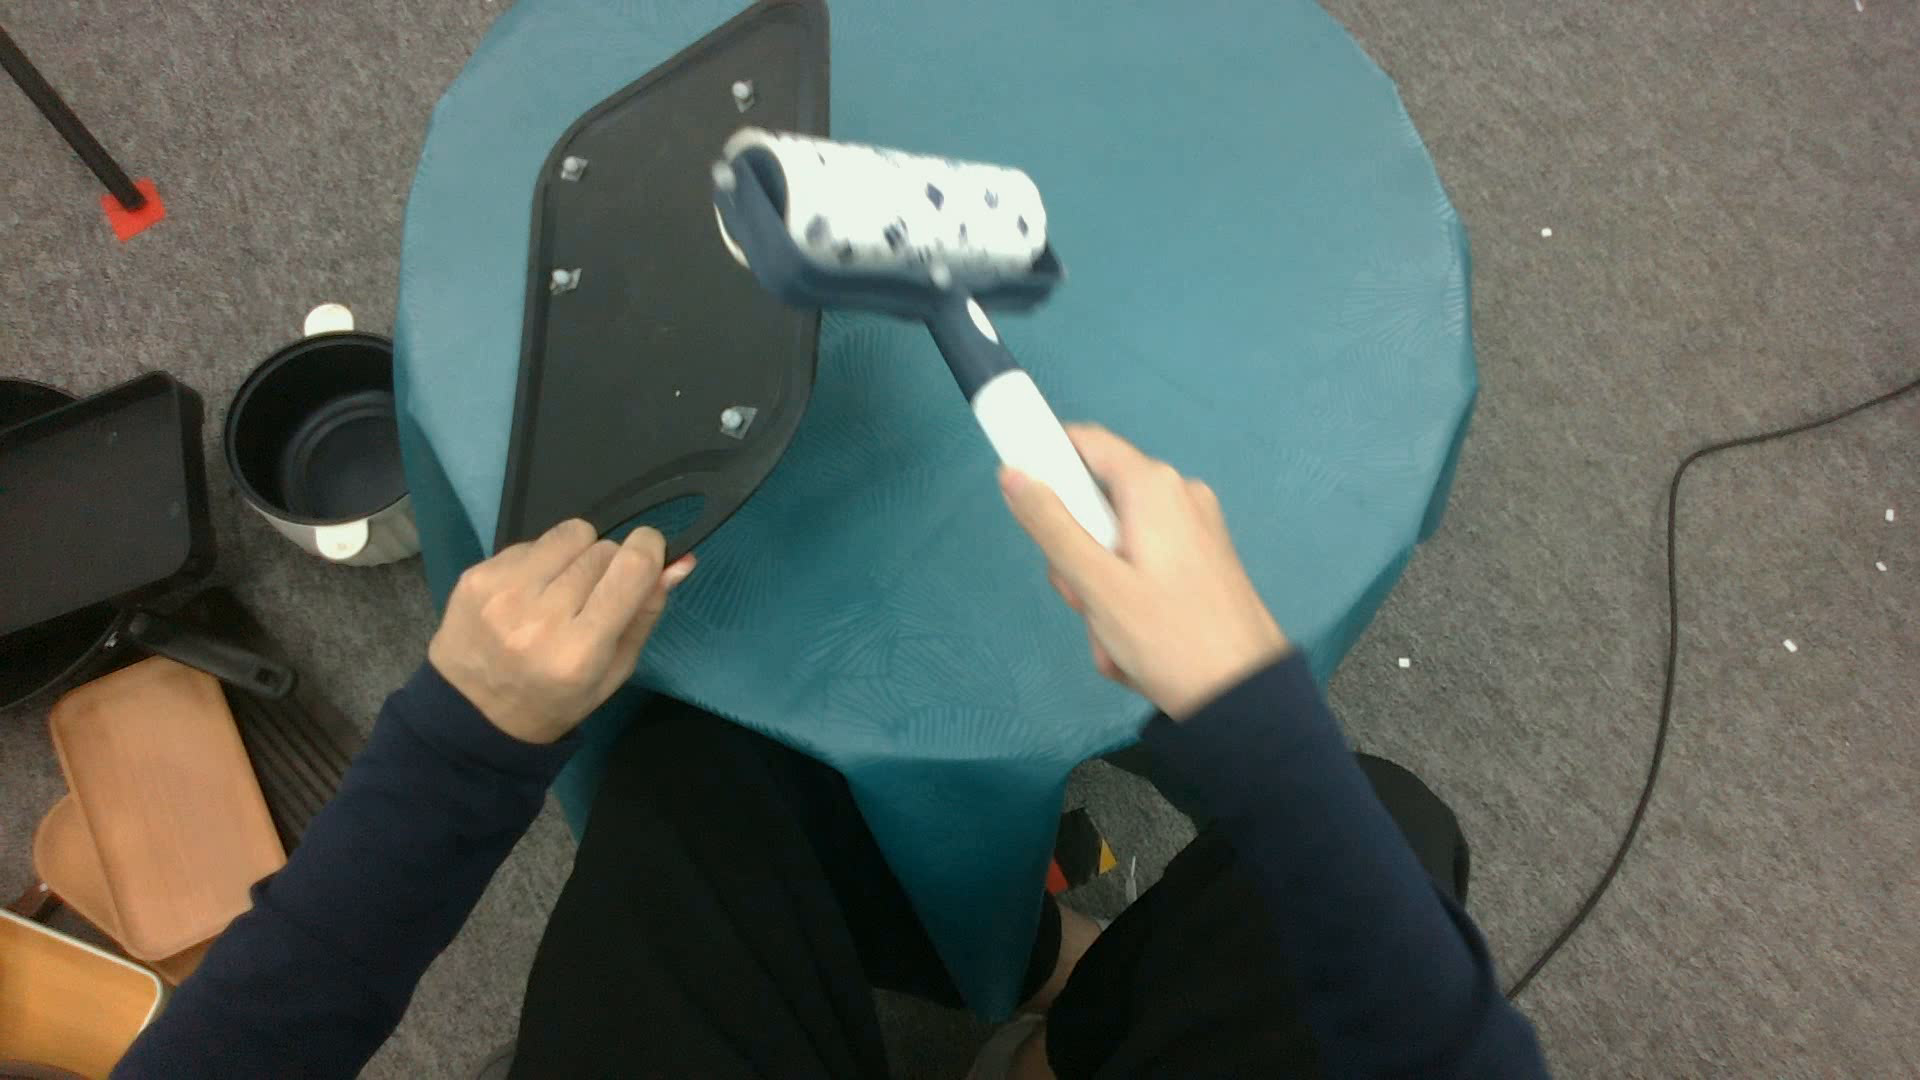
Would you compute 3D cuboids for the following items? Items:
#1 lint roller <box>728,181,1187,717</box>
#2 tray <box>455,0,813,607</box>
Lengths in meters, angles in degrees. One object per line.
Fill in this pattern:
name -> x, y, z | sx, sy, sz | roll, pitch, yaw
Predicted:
lint roller -> 0.025, -0.041, 0.563 | 0.177, 0.050, 0.247 | -9, 60, -53
tray -> -0.155, -0.122, 0.649 | 0.210, 0.010, 0.326 | -19, 56, 29
